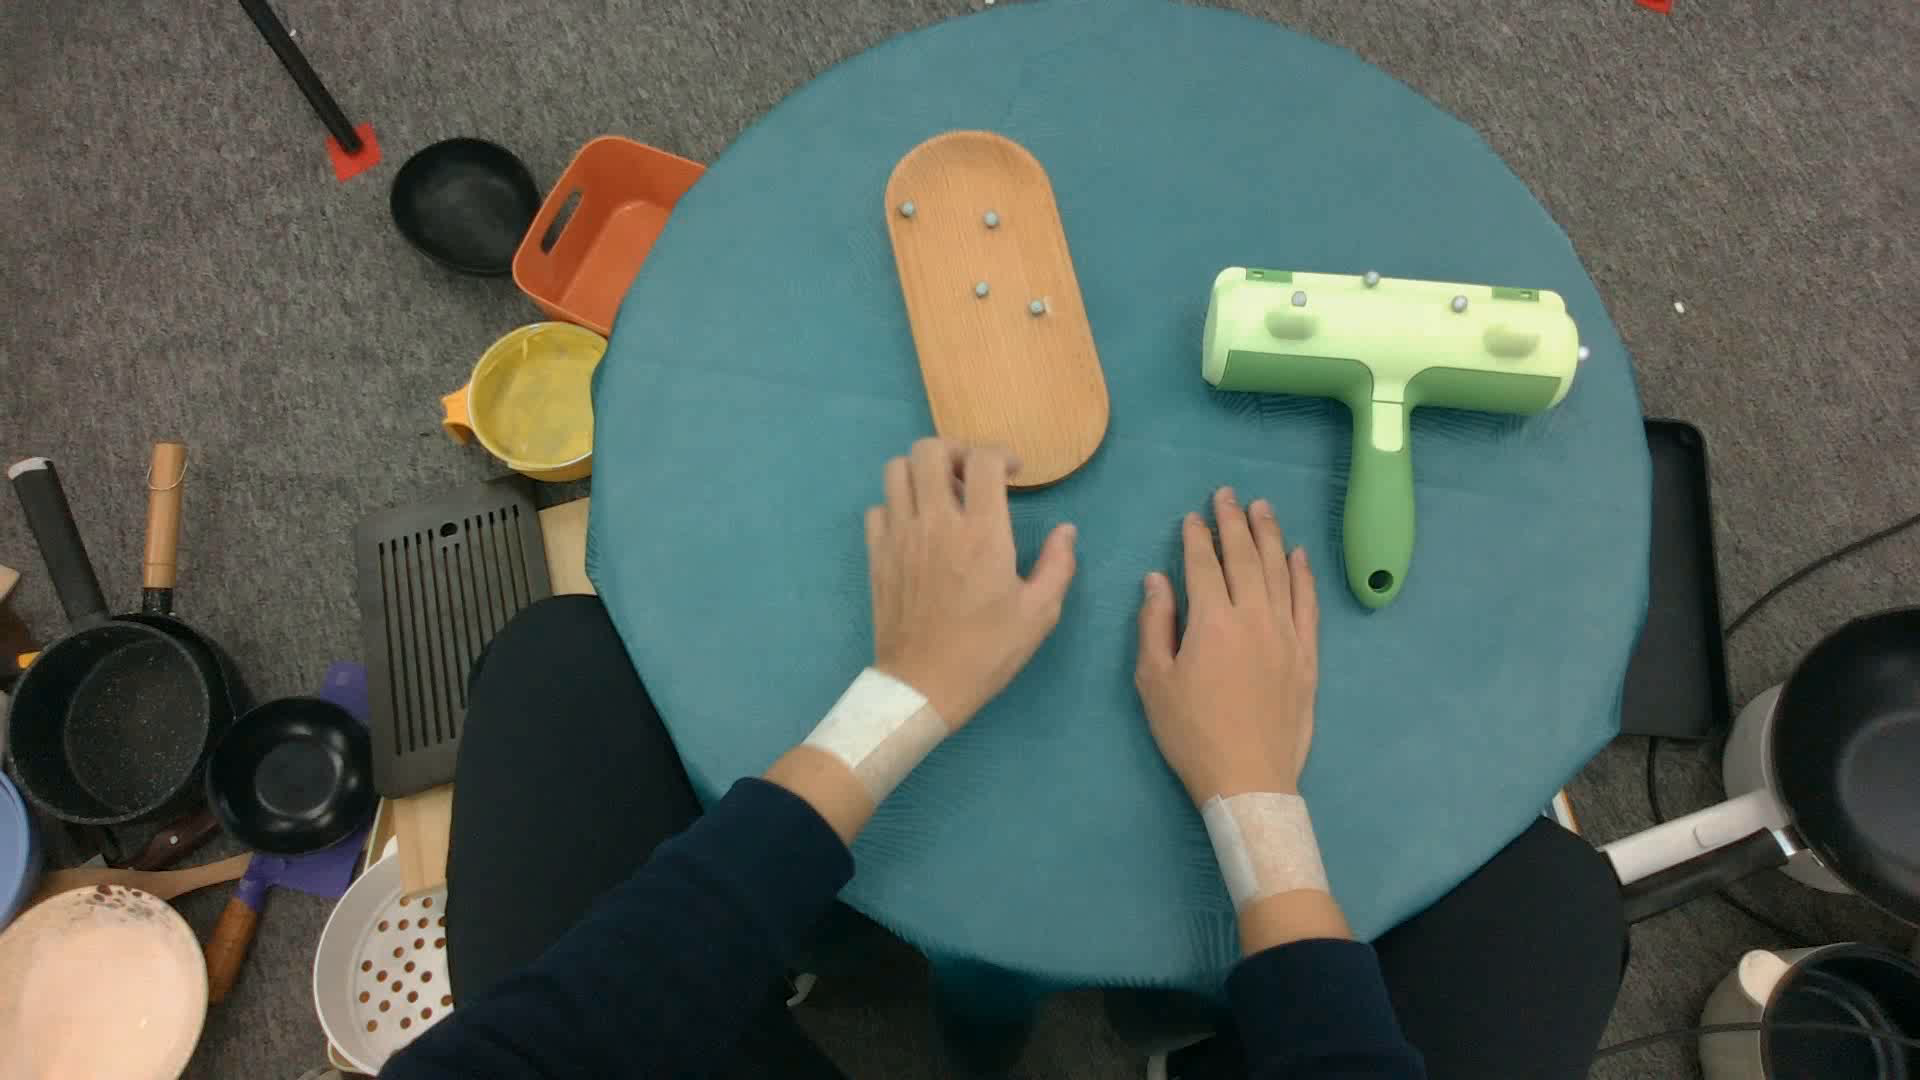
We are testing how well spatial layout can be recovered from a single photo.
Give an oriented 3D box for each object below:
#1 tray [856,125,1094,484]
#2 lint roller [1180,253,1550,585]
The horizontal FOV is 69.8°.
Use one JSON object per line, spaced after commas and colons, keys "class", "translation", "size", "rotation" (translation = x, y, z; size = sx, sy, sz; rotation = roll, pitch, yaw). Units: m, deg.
{"class": "tray", "translation": [0.007, -0.139, 0.795], "size": [0.102, 0.020, 0.231], "rotation": [-14, 74, -5]}
{"class": "lint roller", "translation": [0.221, -0.073, 0.740], "size": [0.198, 0.082, 0.184], "rotation": [3, 66, 1]}
